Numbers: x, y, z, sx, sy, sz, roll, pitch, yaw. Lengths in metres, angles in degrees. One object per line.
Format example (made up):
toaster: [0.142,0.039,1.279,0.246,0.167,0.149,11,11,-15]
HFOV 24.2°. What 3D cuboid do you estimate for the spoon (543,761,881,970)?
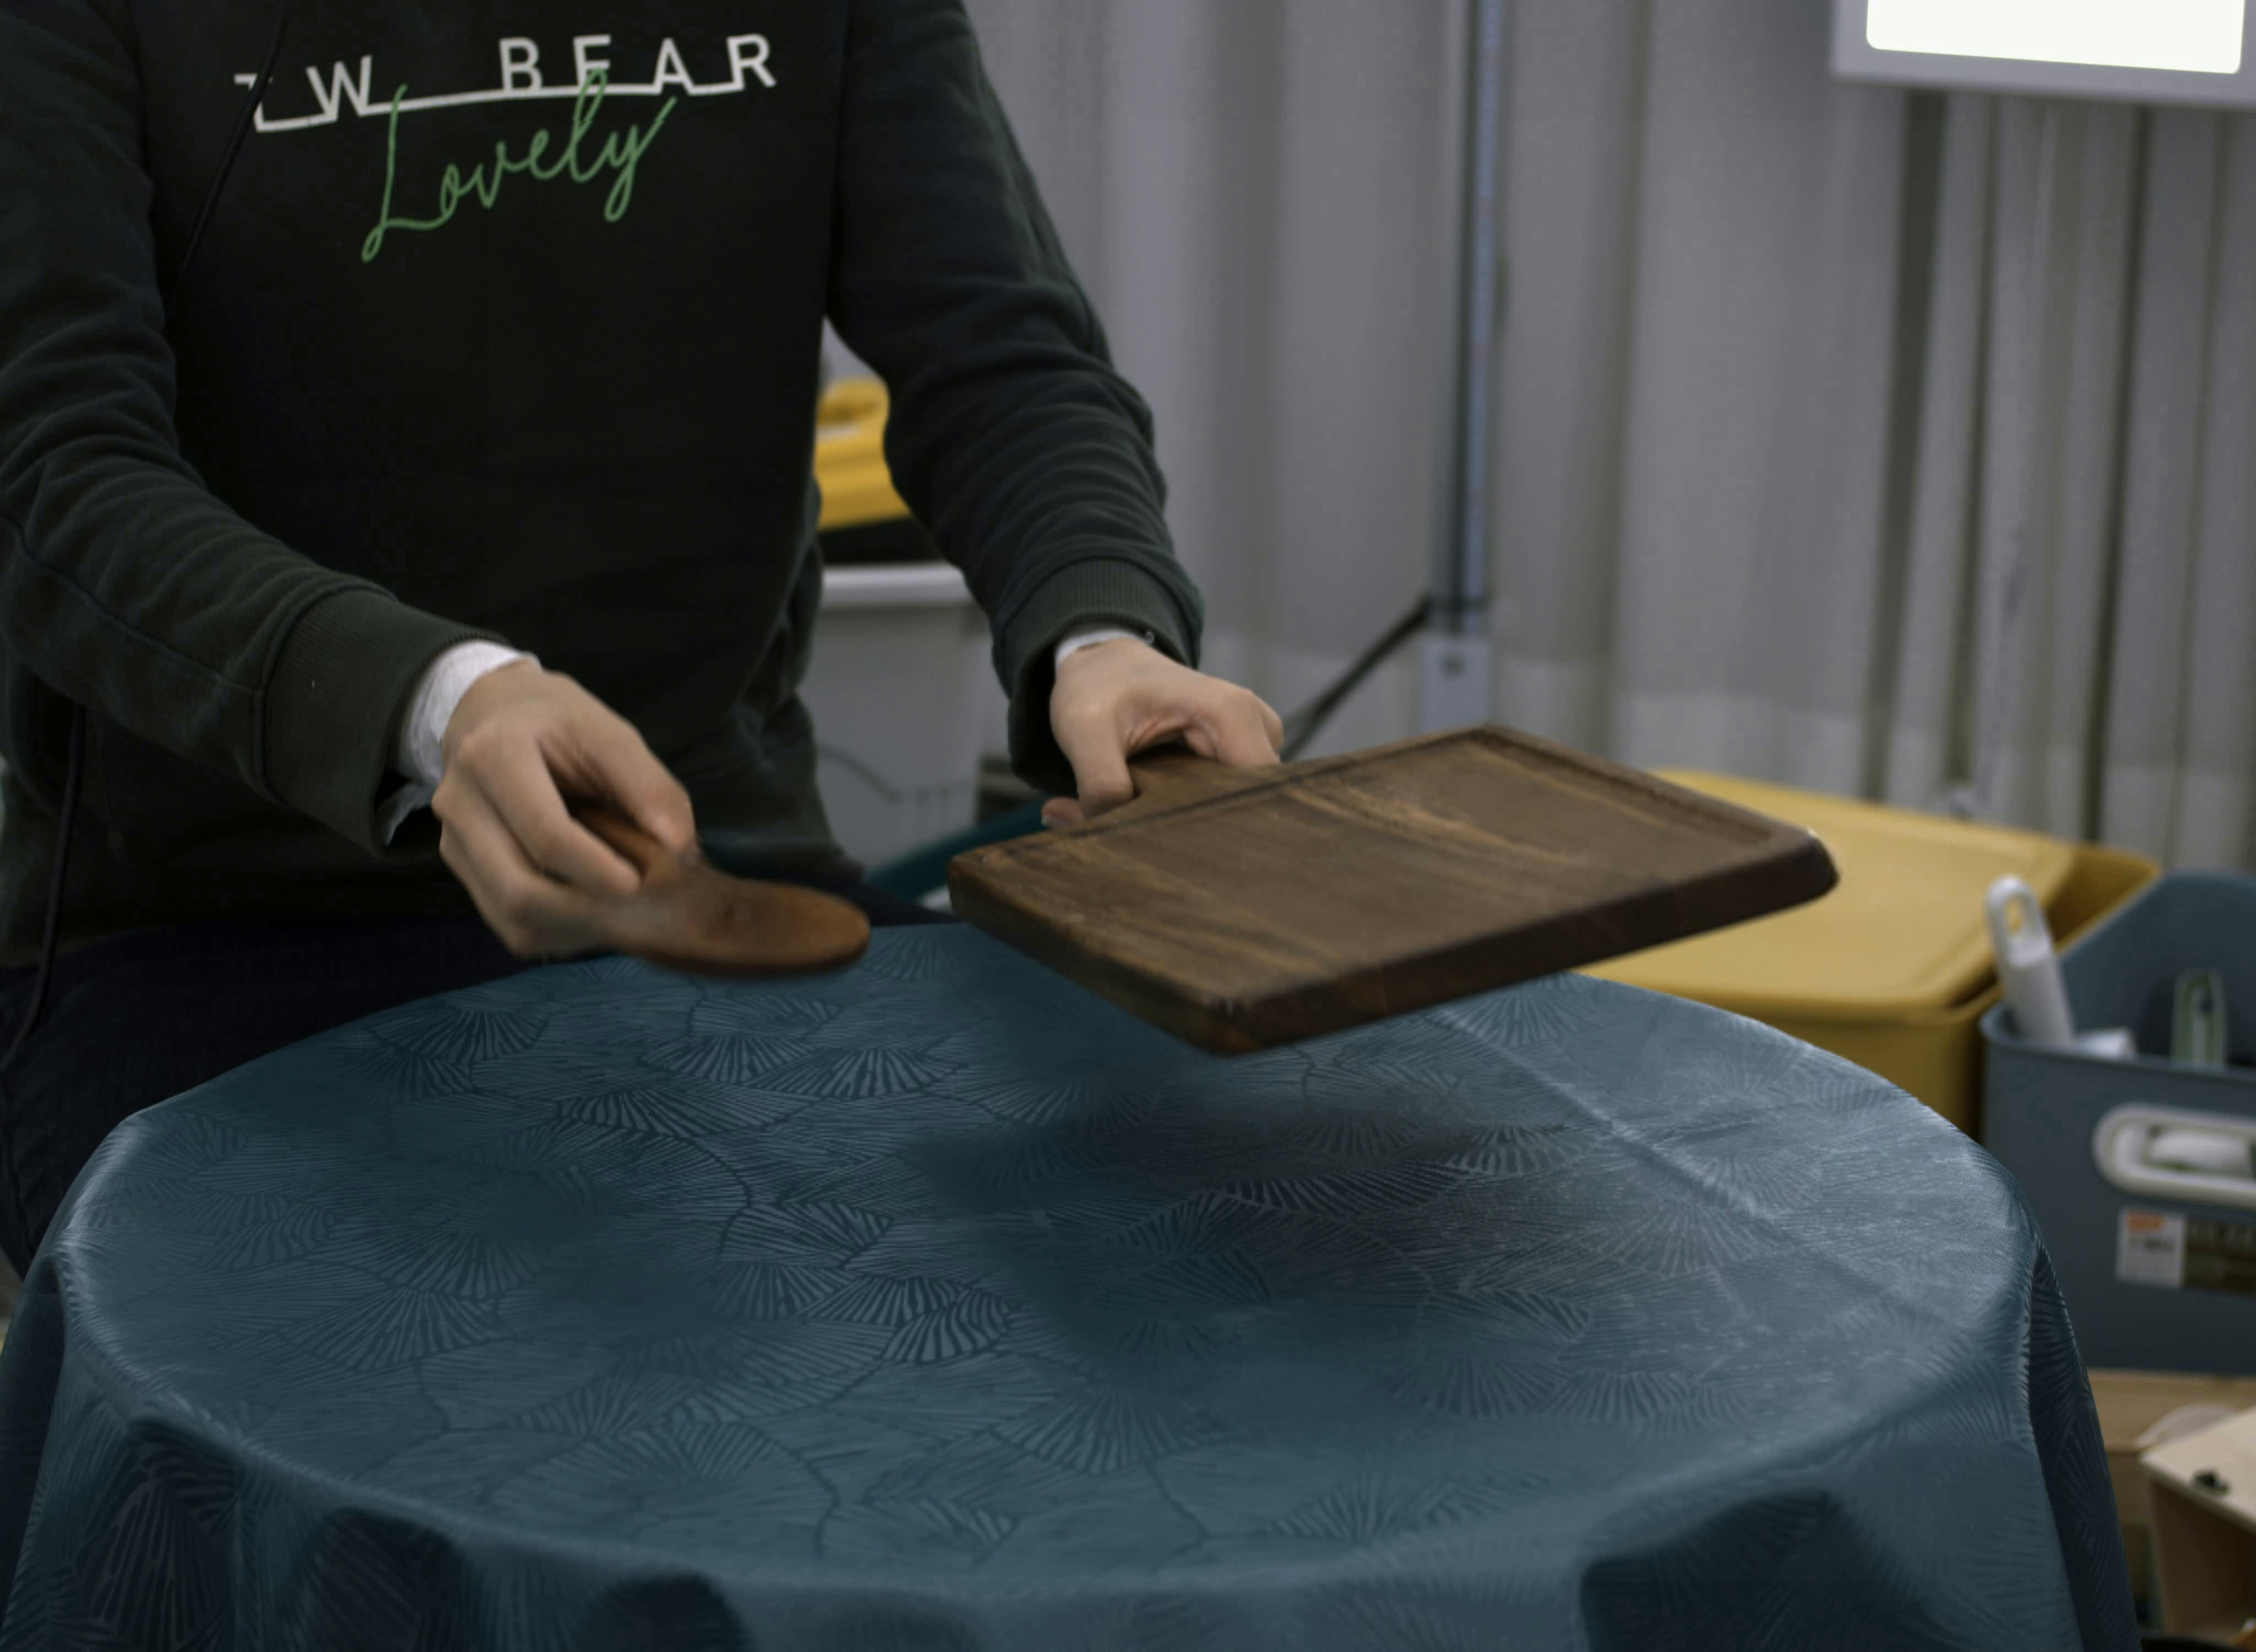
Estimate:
spoon: [-0.135,0.013,1.587,0.076,0.017,0.213,-5,17,-23]

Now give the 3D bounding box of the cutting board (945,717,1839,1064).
cutting board: [0.057,0.008,1.644,0.201,0.023,0.349,-16,14,-18]
